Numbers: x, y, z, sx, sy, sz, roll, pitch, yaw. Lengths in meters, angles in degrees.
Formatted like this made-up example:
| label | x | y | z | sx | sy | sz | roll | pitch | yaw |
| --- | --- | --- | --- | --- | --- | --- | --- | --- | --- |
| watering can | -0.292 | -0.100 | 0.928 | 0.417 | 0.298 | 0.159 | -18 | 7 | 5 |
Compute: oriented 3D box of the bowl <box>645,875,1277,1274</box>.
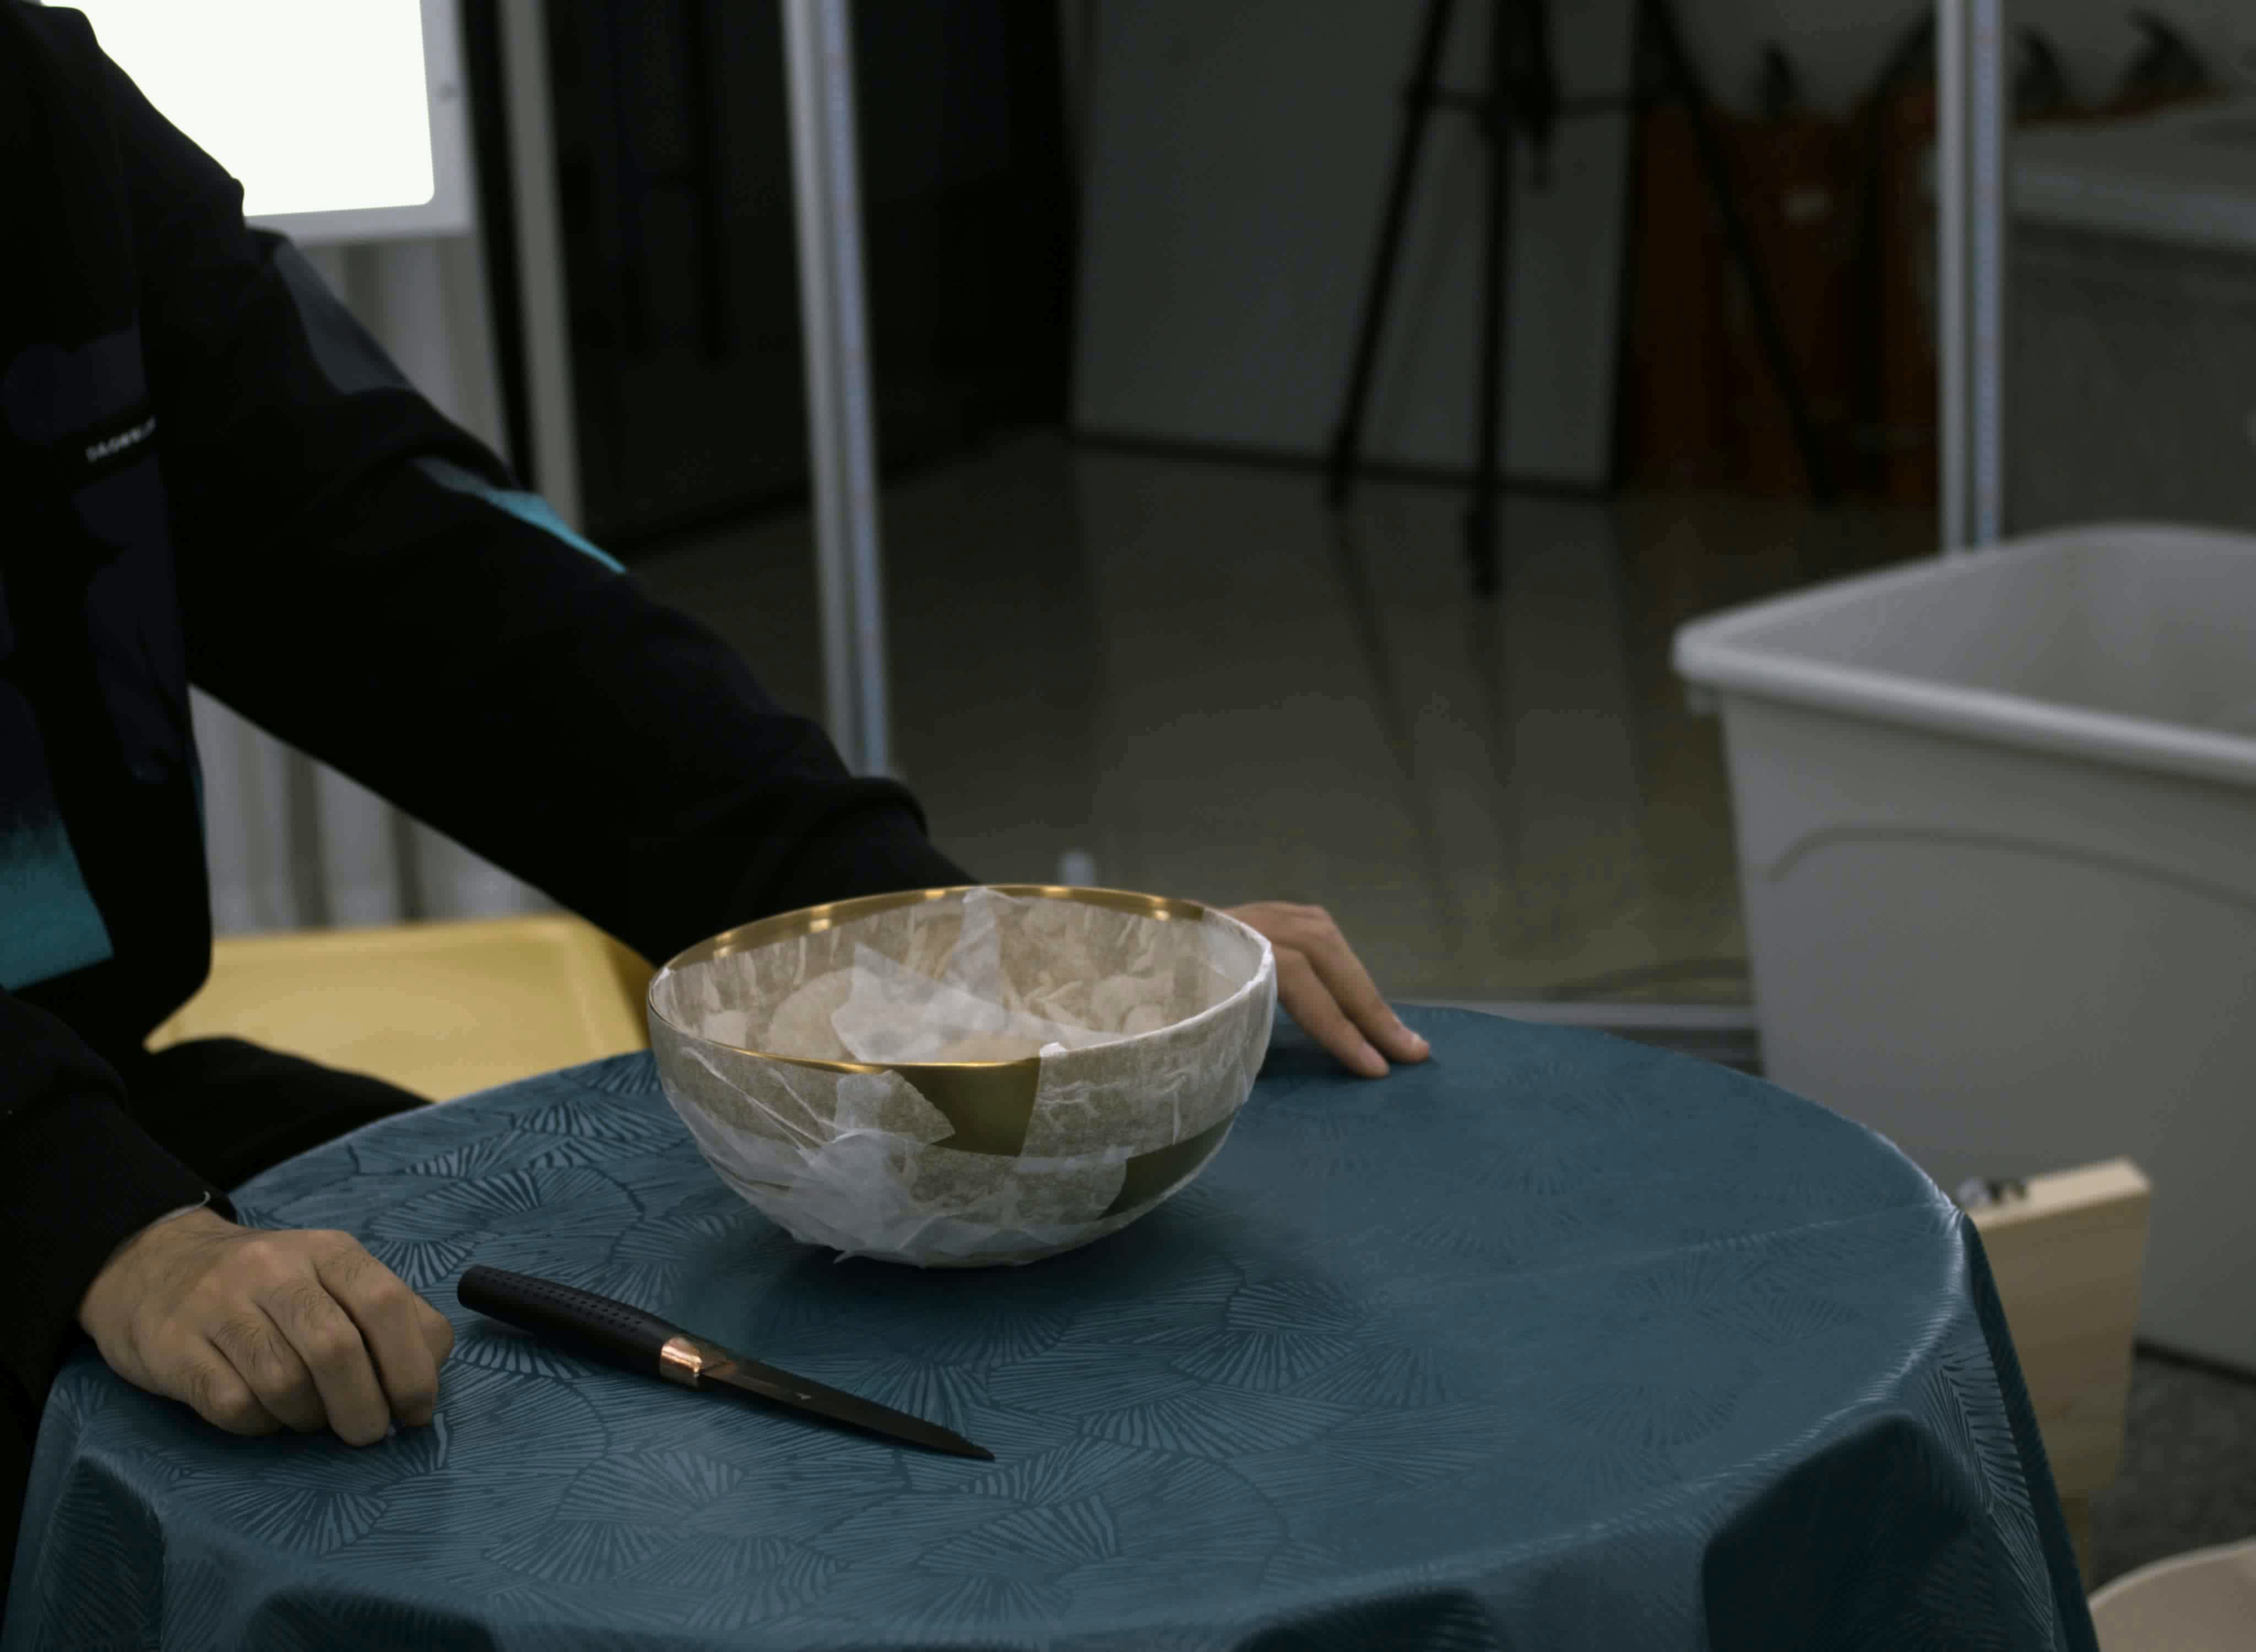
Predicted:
| label | x | y | z | sx | sy | sz | roll | pitch | yaw |
| --- | --- | --- | --- | --- | --- | --- | --- | --- | --- |
| bowl | -0.053 | 0.087 | 1.727 | 0.212 | 0.095 | 0.215 | -5 | 15 | 0 |

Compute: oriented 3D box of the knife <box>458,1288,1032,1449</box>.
| label | x | y | z | sx | sy | sz | roll | pitch | yaw |
| --- | --- | --- | --- | --- | --- | --- | --- | --- | --- |
| knife | -0.117 | 0.164 | 1.613 | 0.227 | 0.017 | 0.025 | 9 | 11 | 40 |
